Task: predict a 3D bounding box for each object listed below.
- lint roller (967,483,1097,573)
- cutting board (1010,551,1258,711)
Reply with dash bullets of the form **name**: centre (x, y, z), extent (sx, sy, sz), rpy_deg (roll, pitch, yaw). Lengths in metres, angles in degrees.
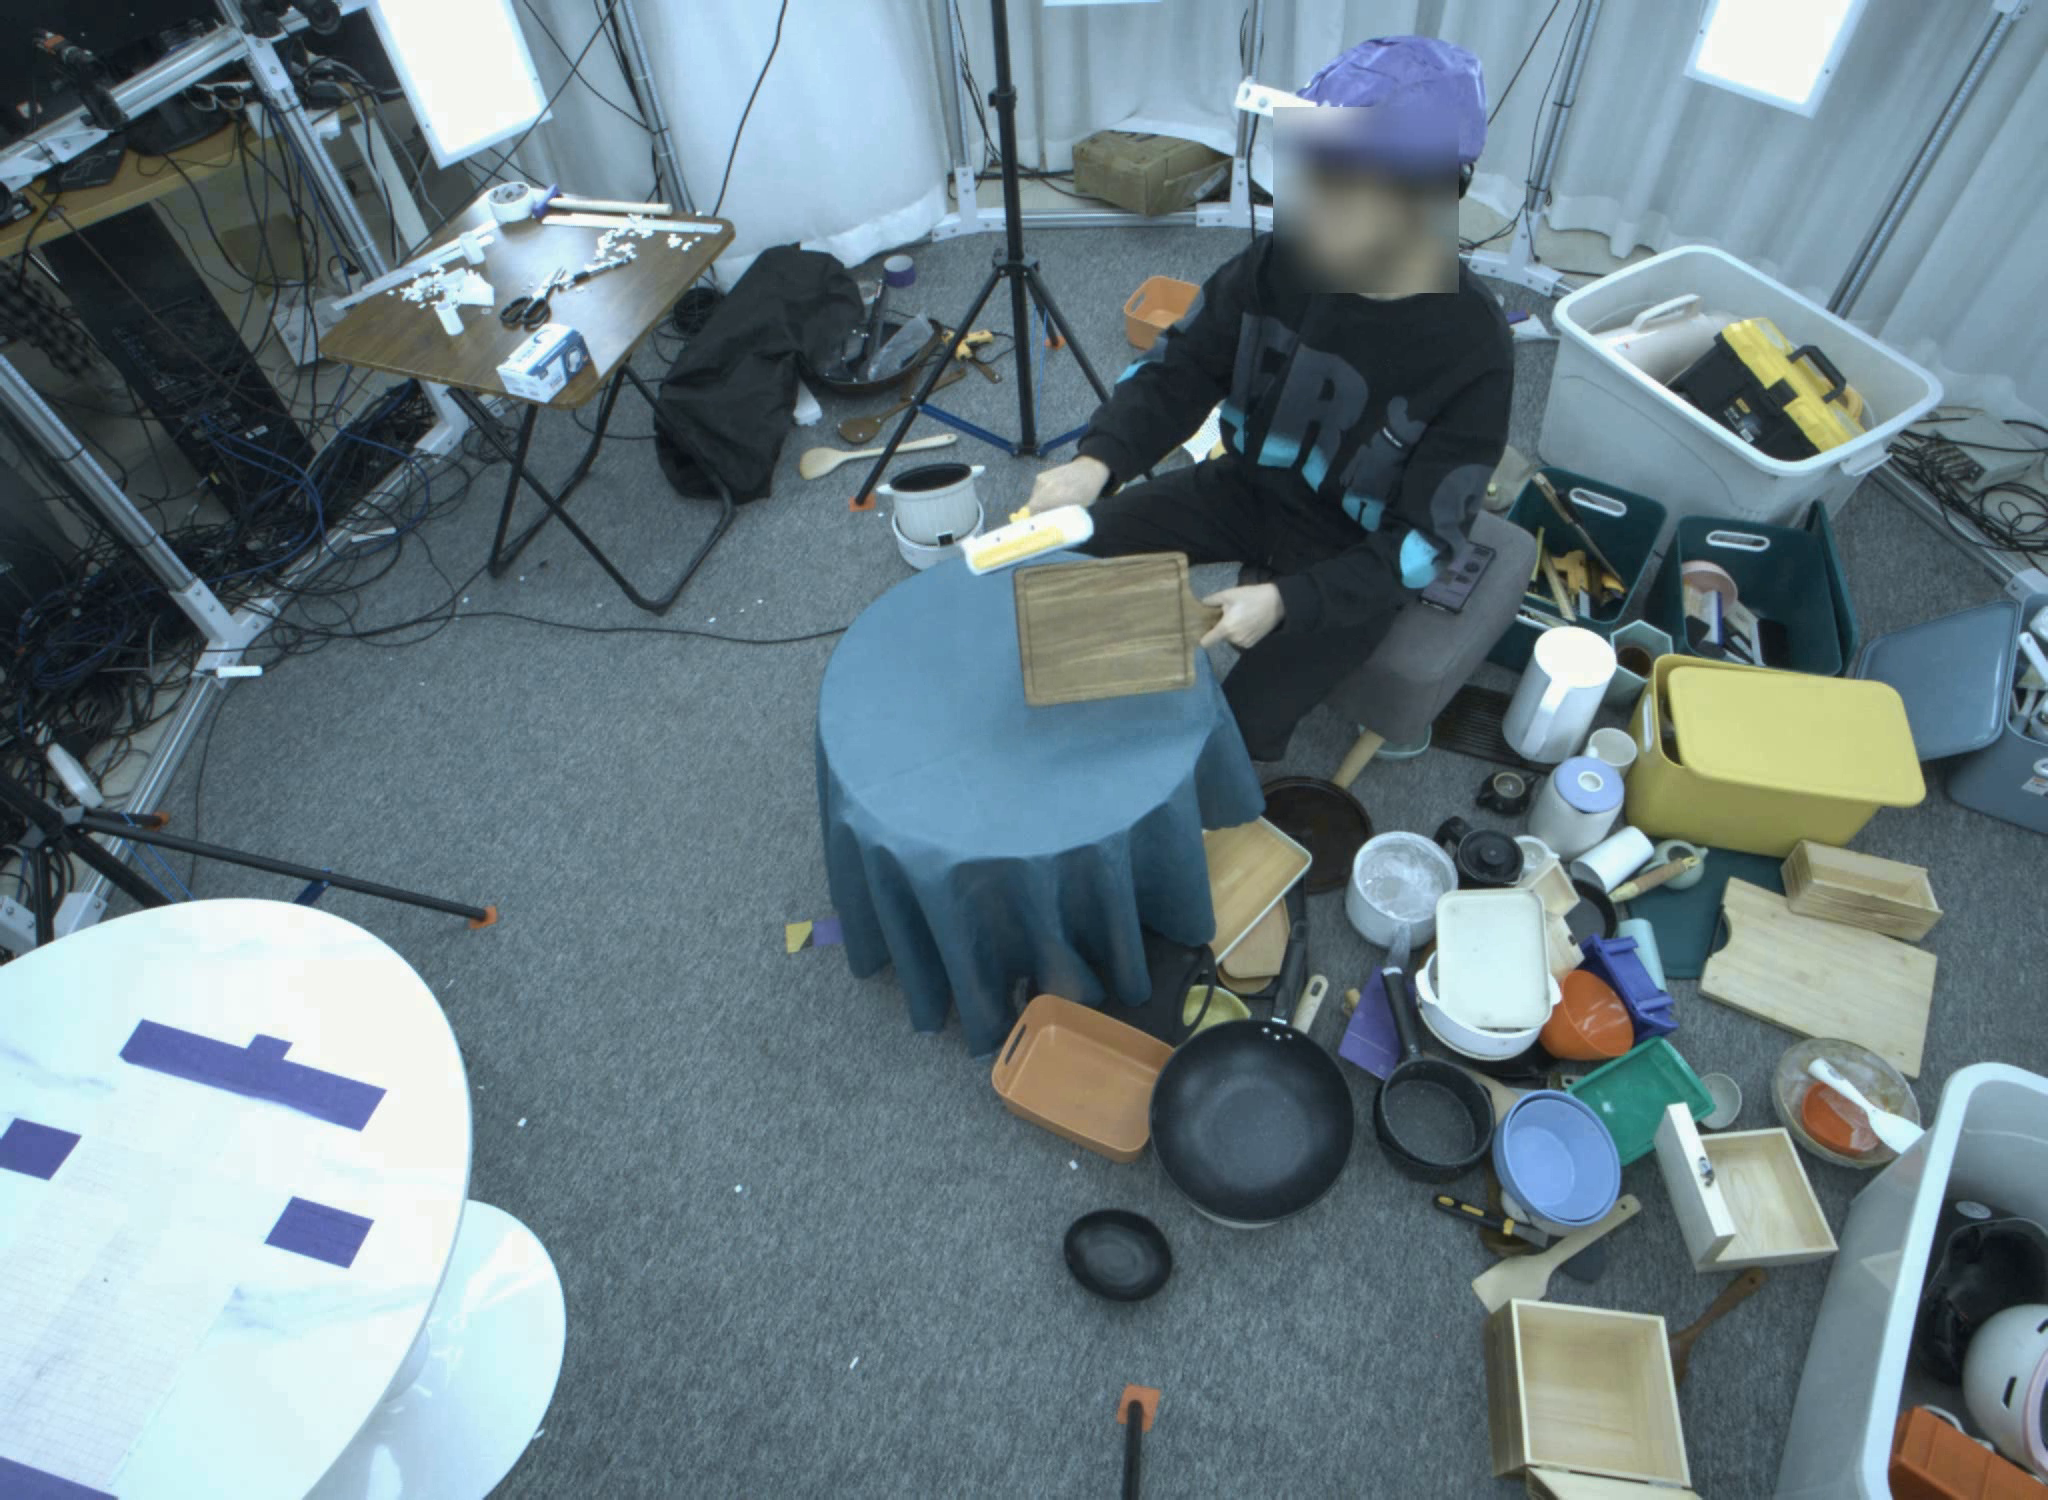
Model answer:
- **lint roller**: centre (0.025, -0.323, 1.722), extent (0.190, 0.075, 0.193), rpy_deg (-20, 17, 30)
- **cutting board**: centre (0.162, -0.175, 1.737), extent (0.355, 0.202, 0.023), rpy_deg (-8, 11, -12)
